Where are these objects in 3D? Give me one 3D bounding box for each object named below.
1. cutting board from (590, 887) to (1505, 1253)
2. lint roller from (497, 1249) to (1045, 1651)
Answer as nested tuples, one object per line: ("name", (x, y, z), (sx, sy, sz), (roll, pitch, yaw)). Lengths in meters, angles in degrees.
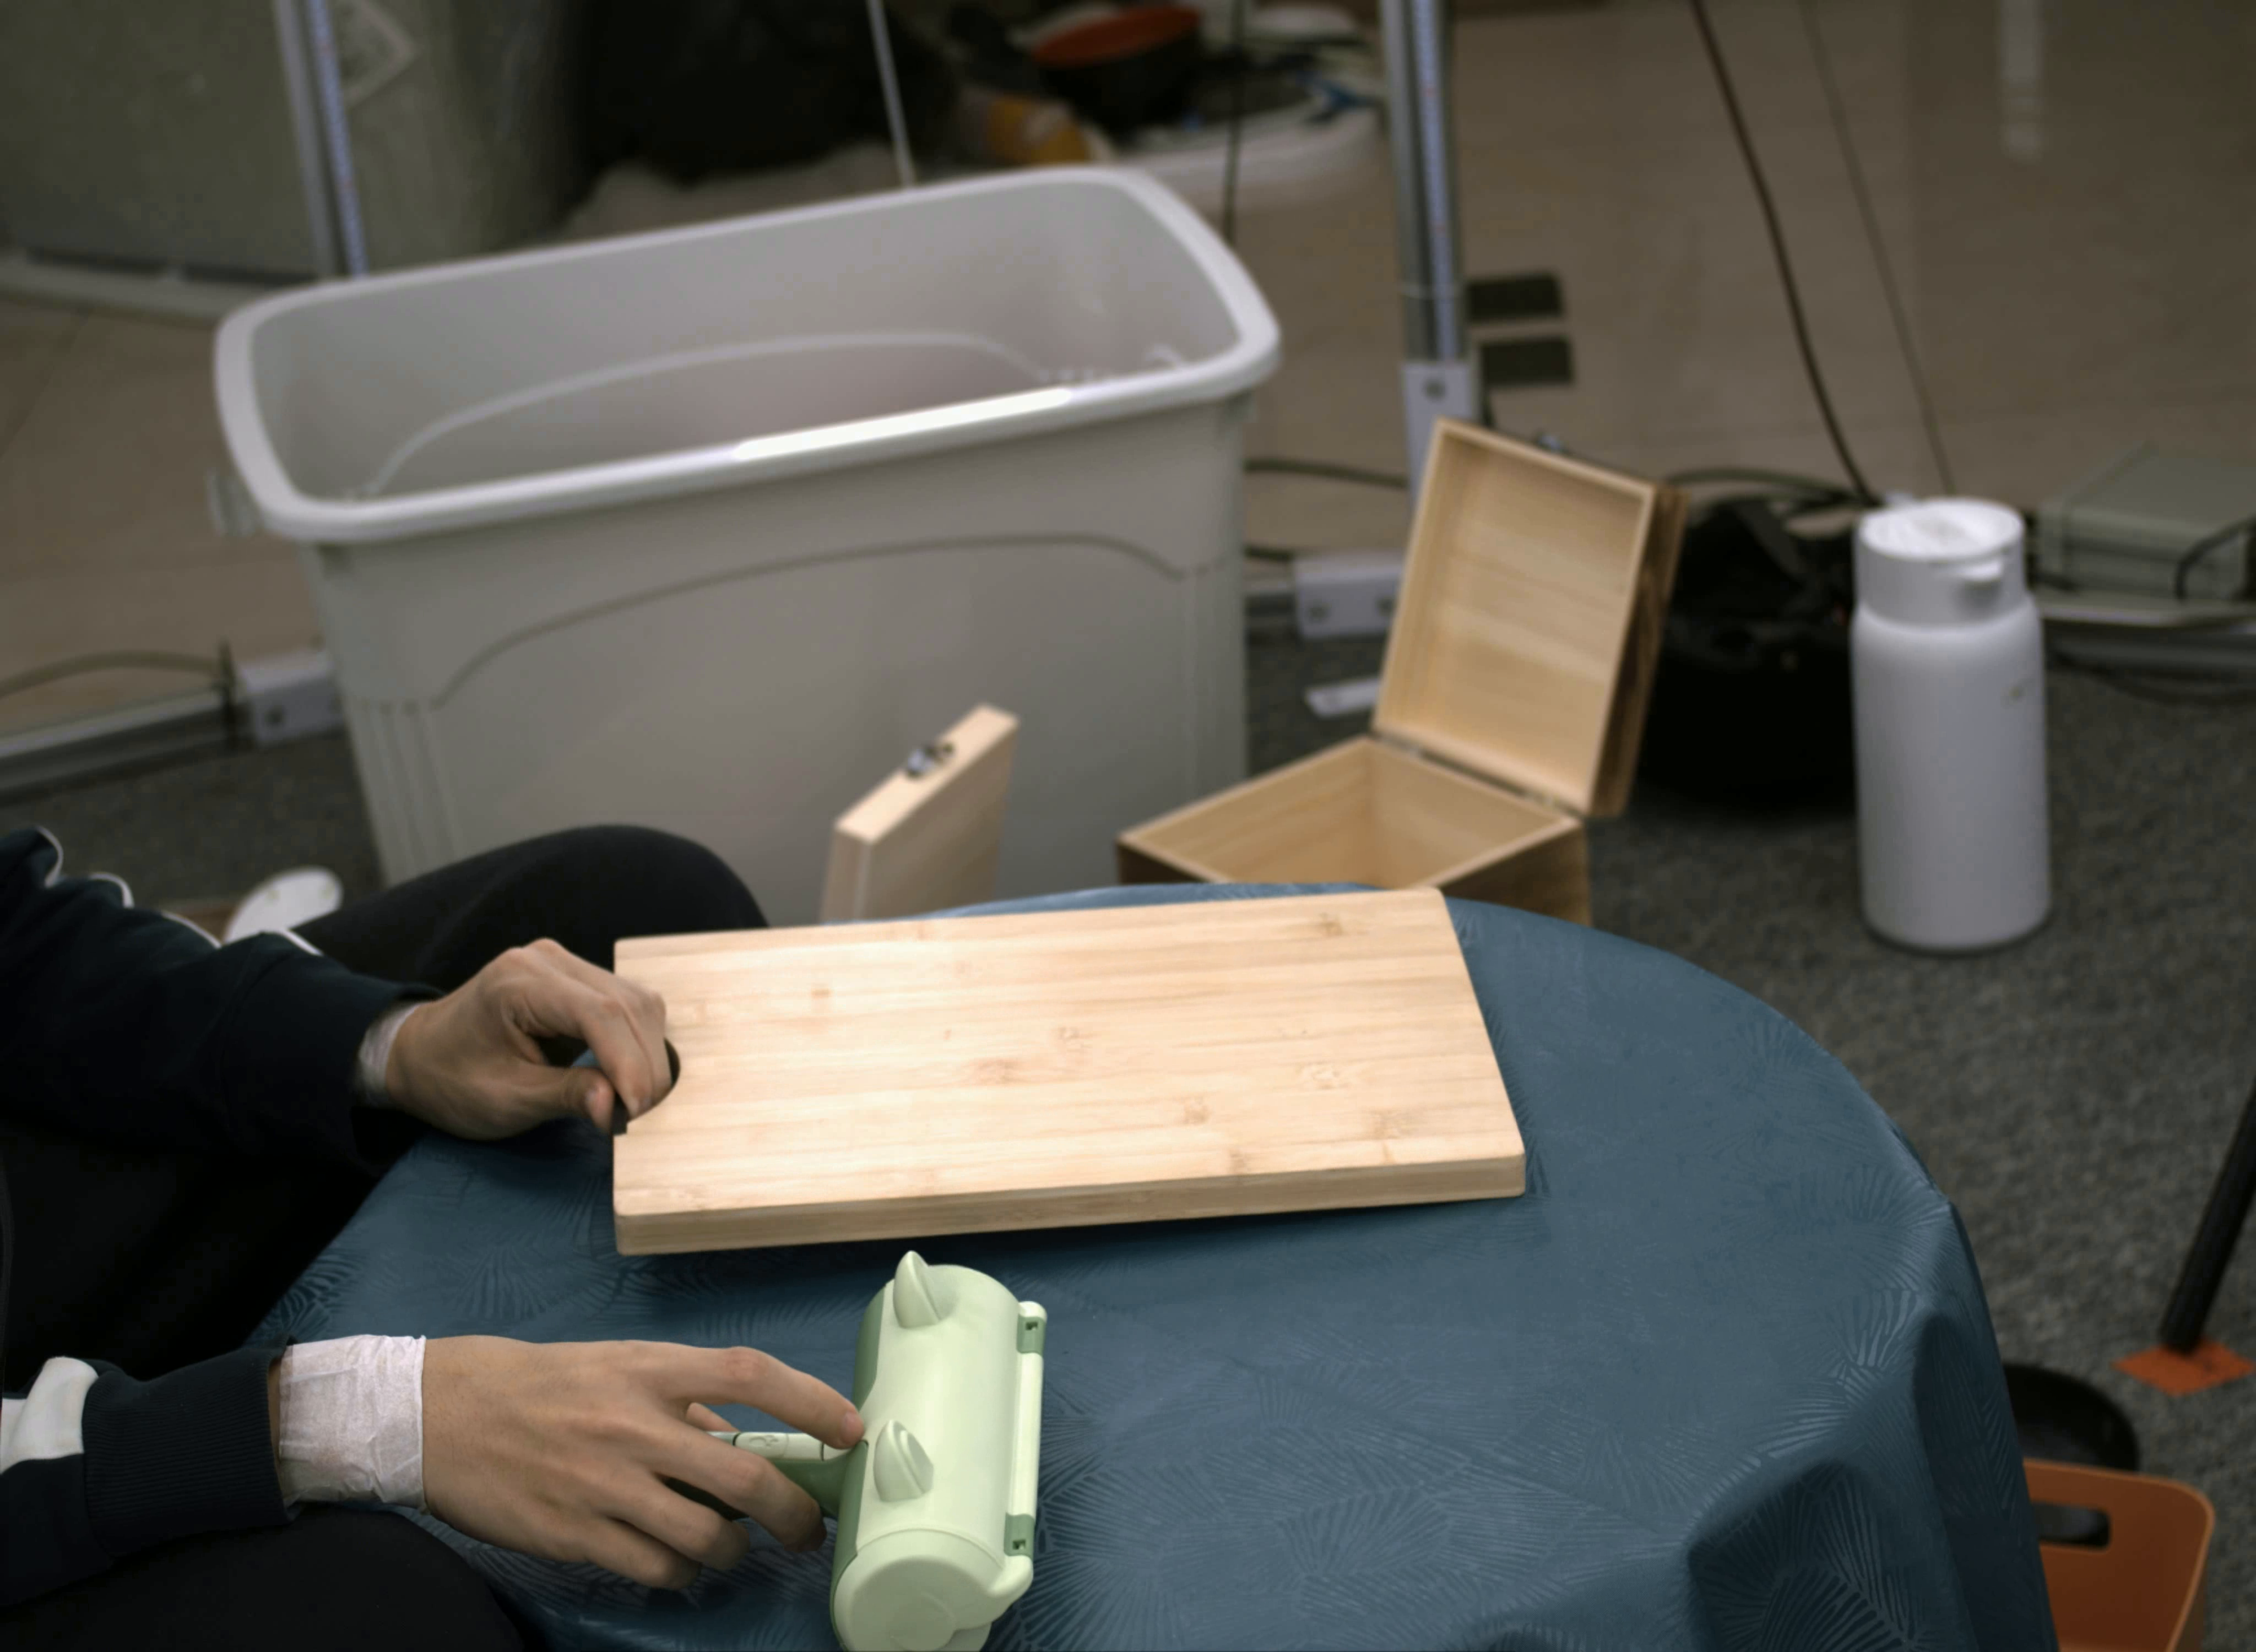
("cutting board", (-0.035, 0.092, 2.204), (0.348, 0.024, 0.247), (-4, 24, -4))
("lint roller", (-0.122, 0.206, 1.924), (0.183, 0.083, 0.195), (4, 25, 0))
